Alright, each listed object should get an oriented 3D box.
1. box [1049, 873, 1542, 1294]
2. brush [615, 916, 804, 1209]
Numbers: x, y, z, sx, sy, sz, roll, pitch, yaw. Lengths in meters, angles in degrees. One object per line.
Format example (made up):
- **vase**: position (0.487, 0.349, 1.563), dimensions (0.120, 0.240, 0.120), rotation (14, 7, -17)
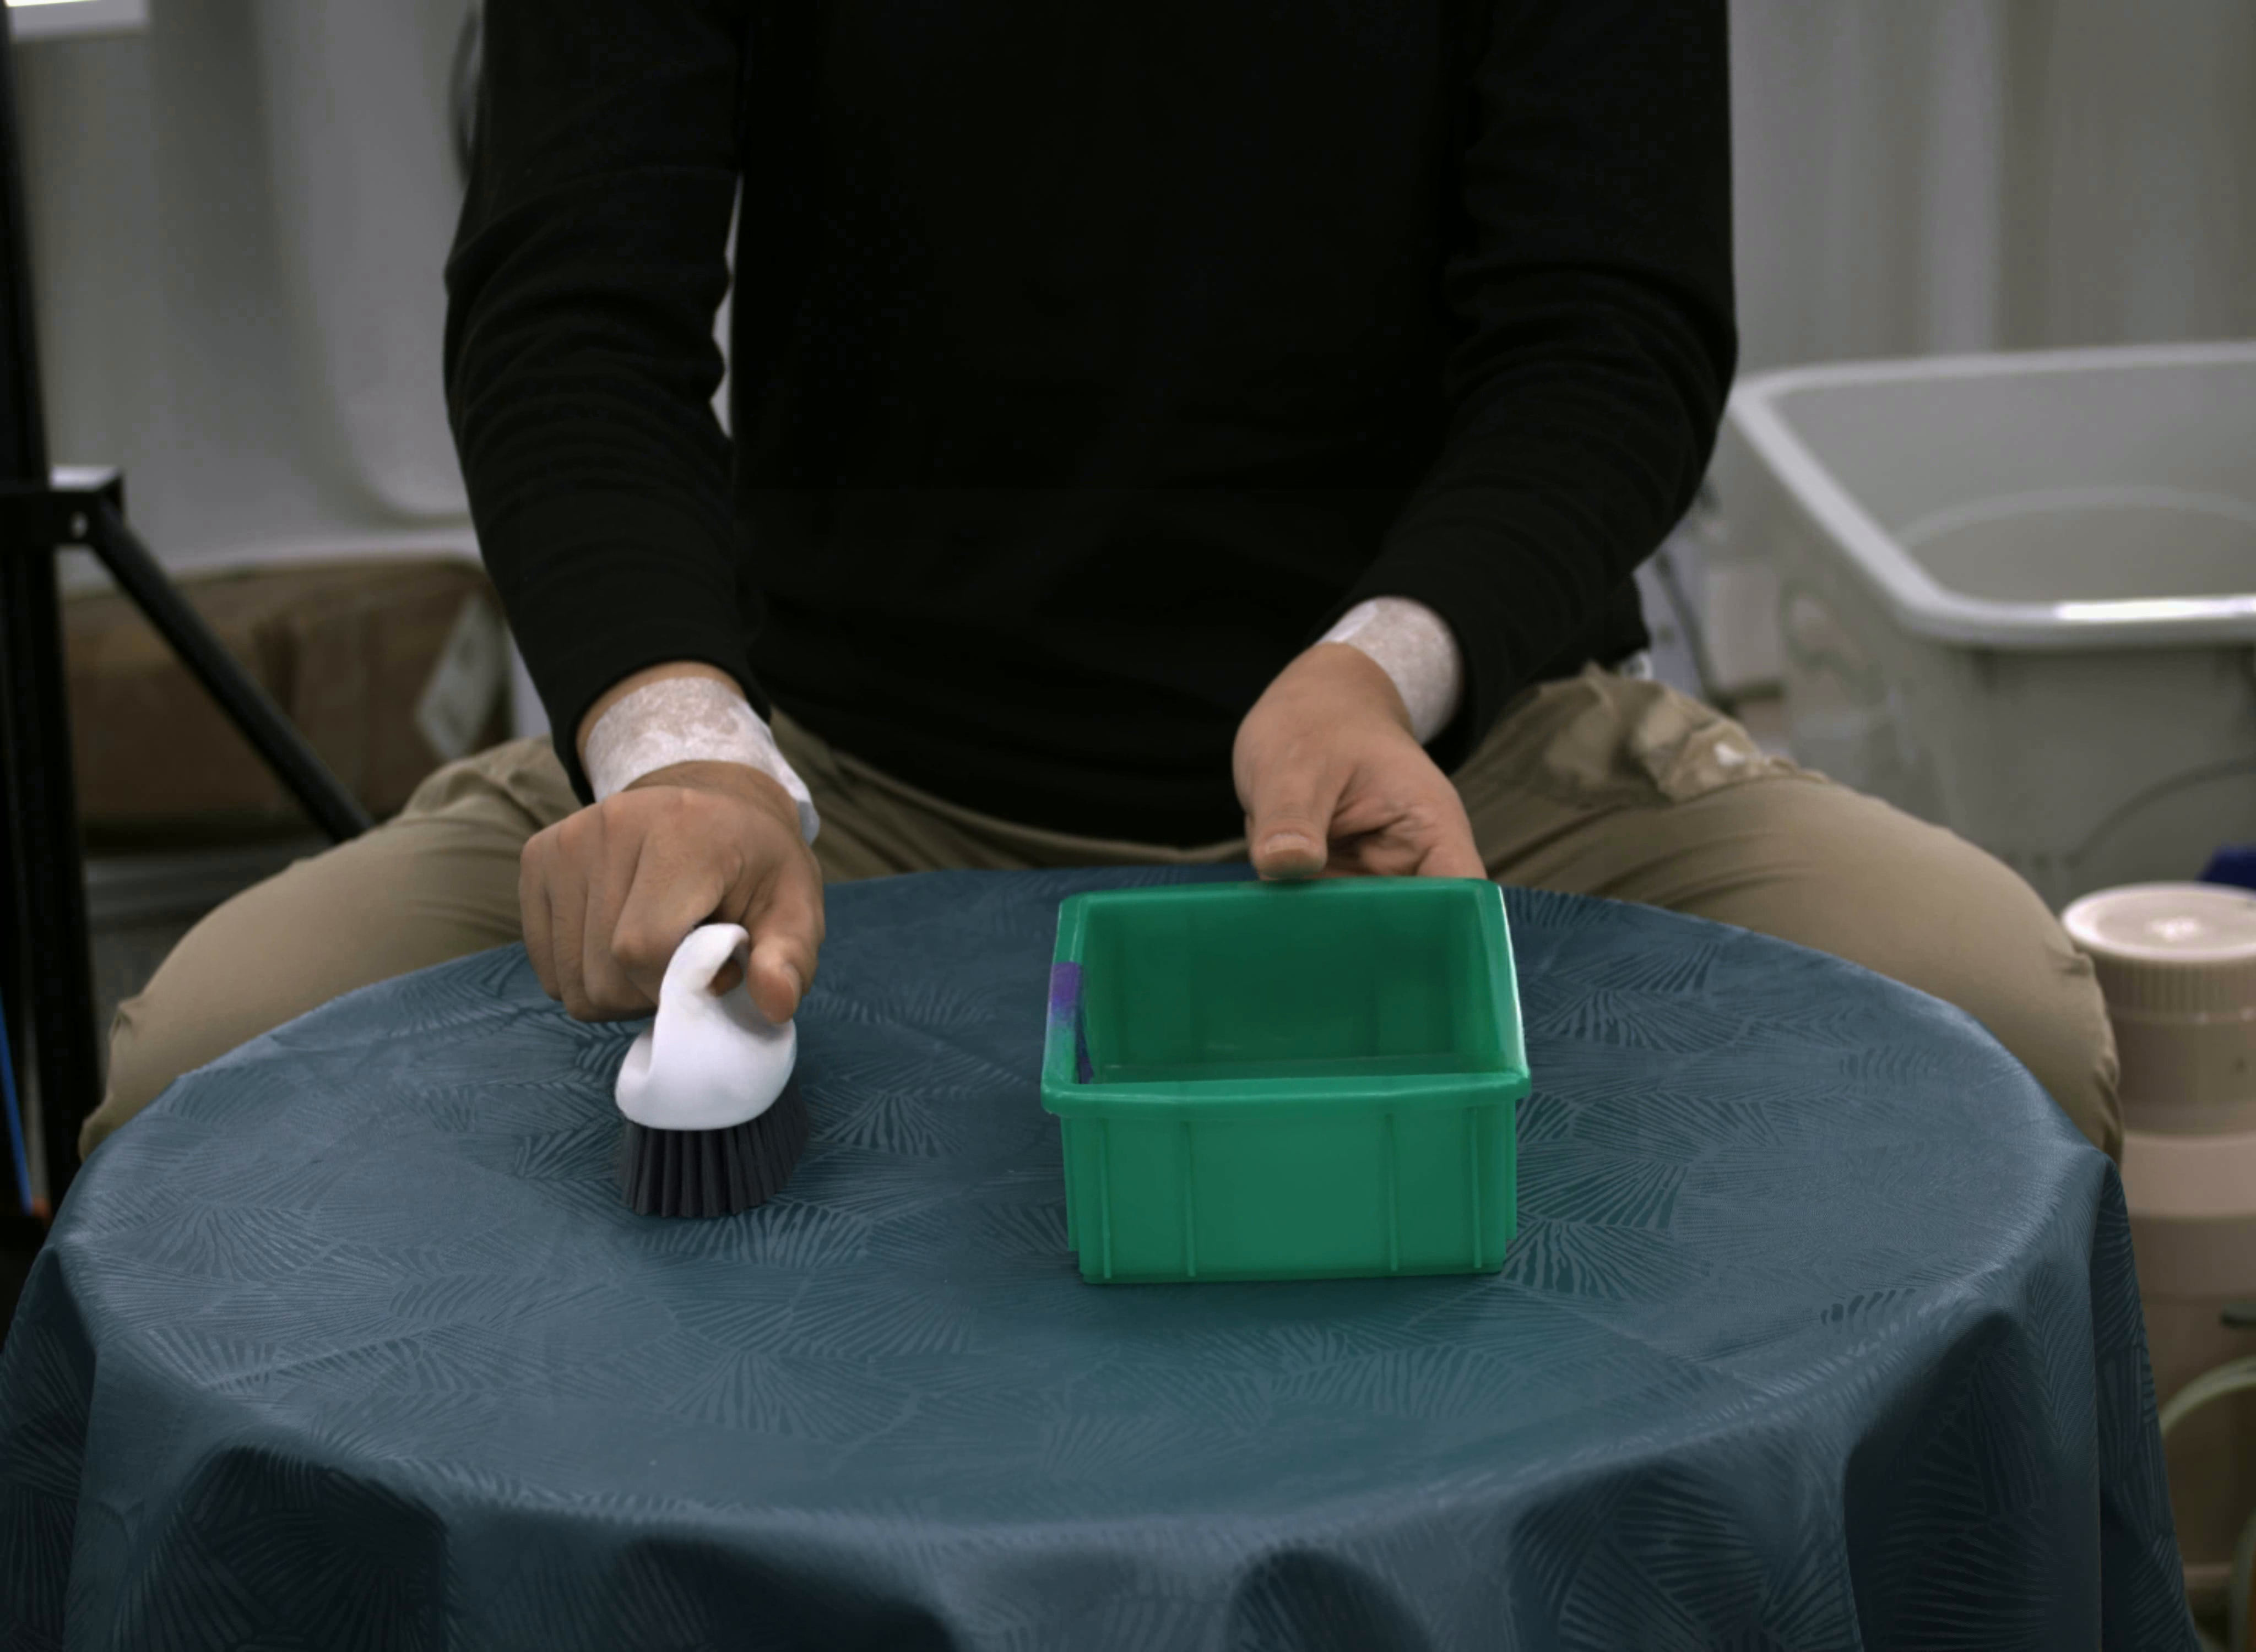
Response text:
- **box**: position (0.048, 0.075, 1.554), dimensions (0.138, 0.065, 0.211), rotation (-4, 17, 2)
- **brush**: position (-0.126, 0.066, 1.592), dimensions (0.050, 0.072, 0.099), rotation (0, 15, 8)
